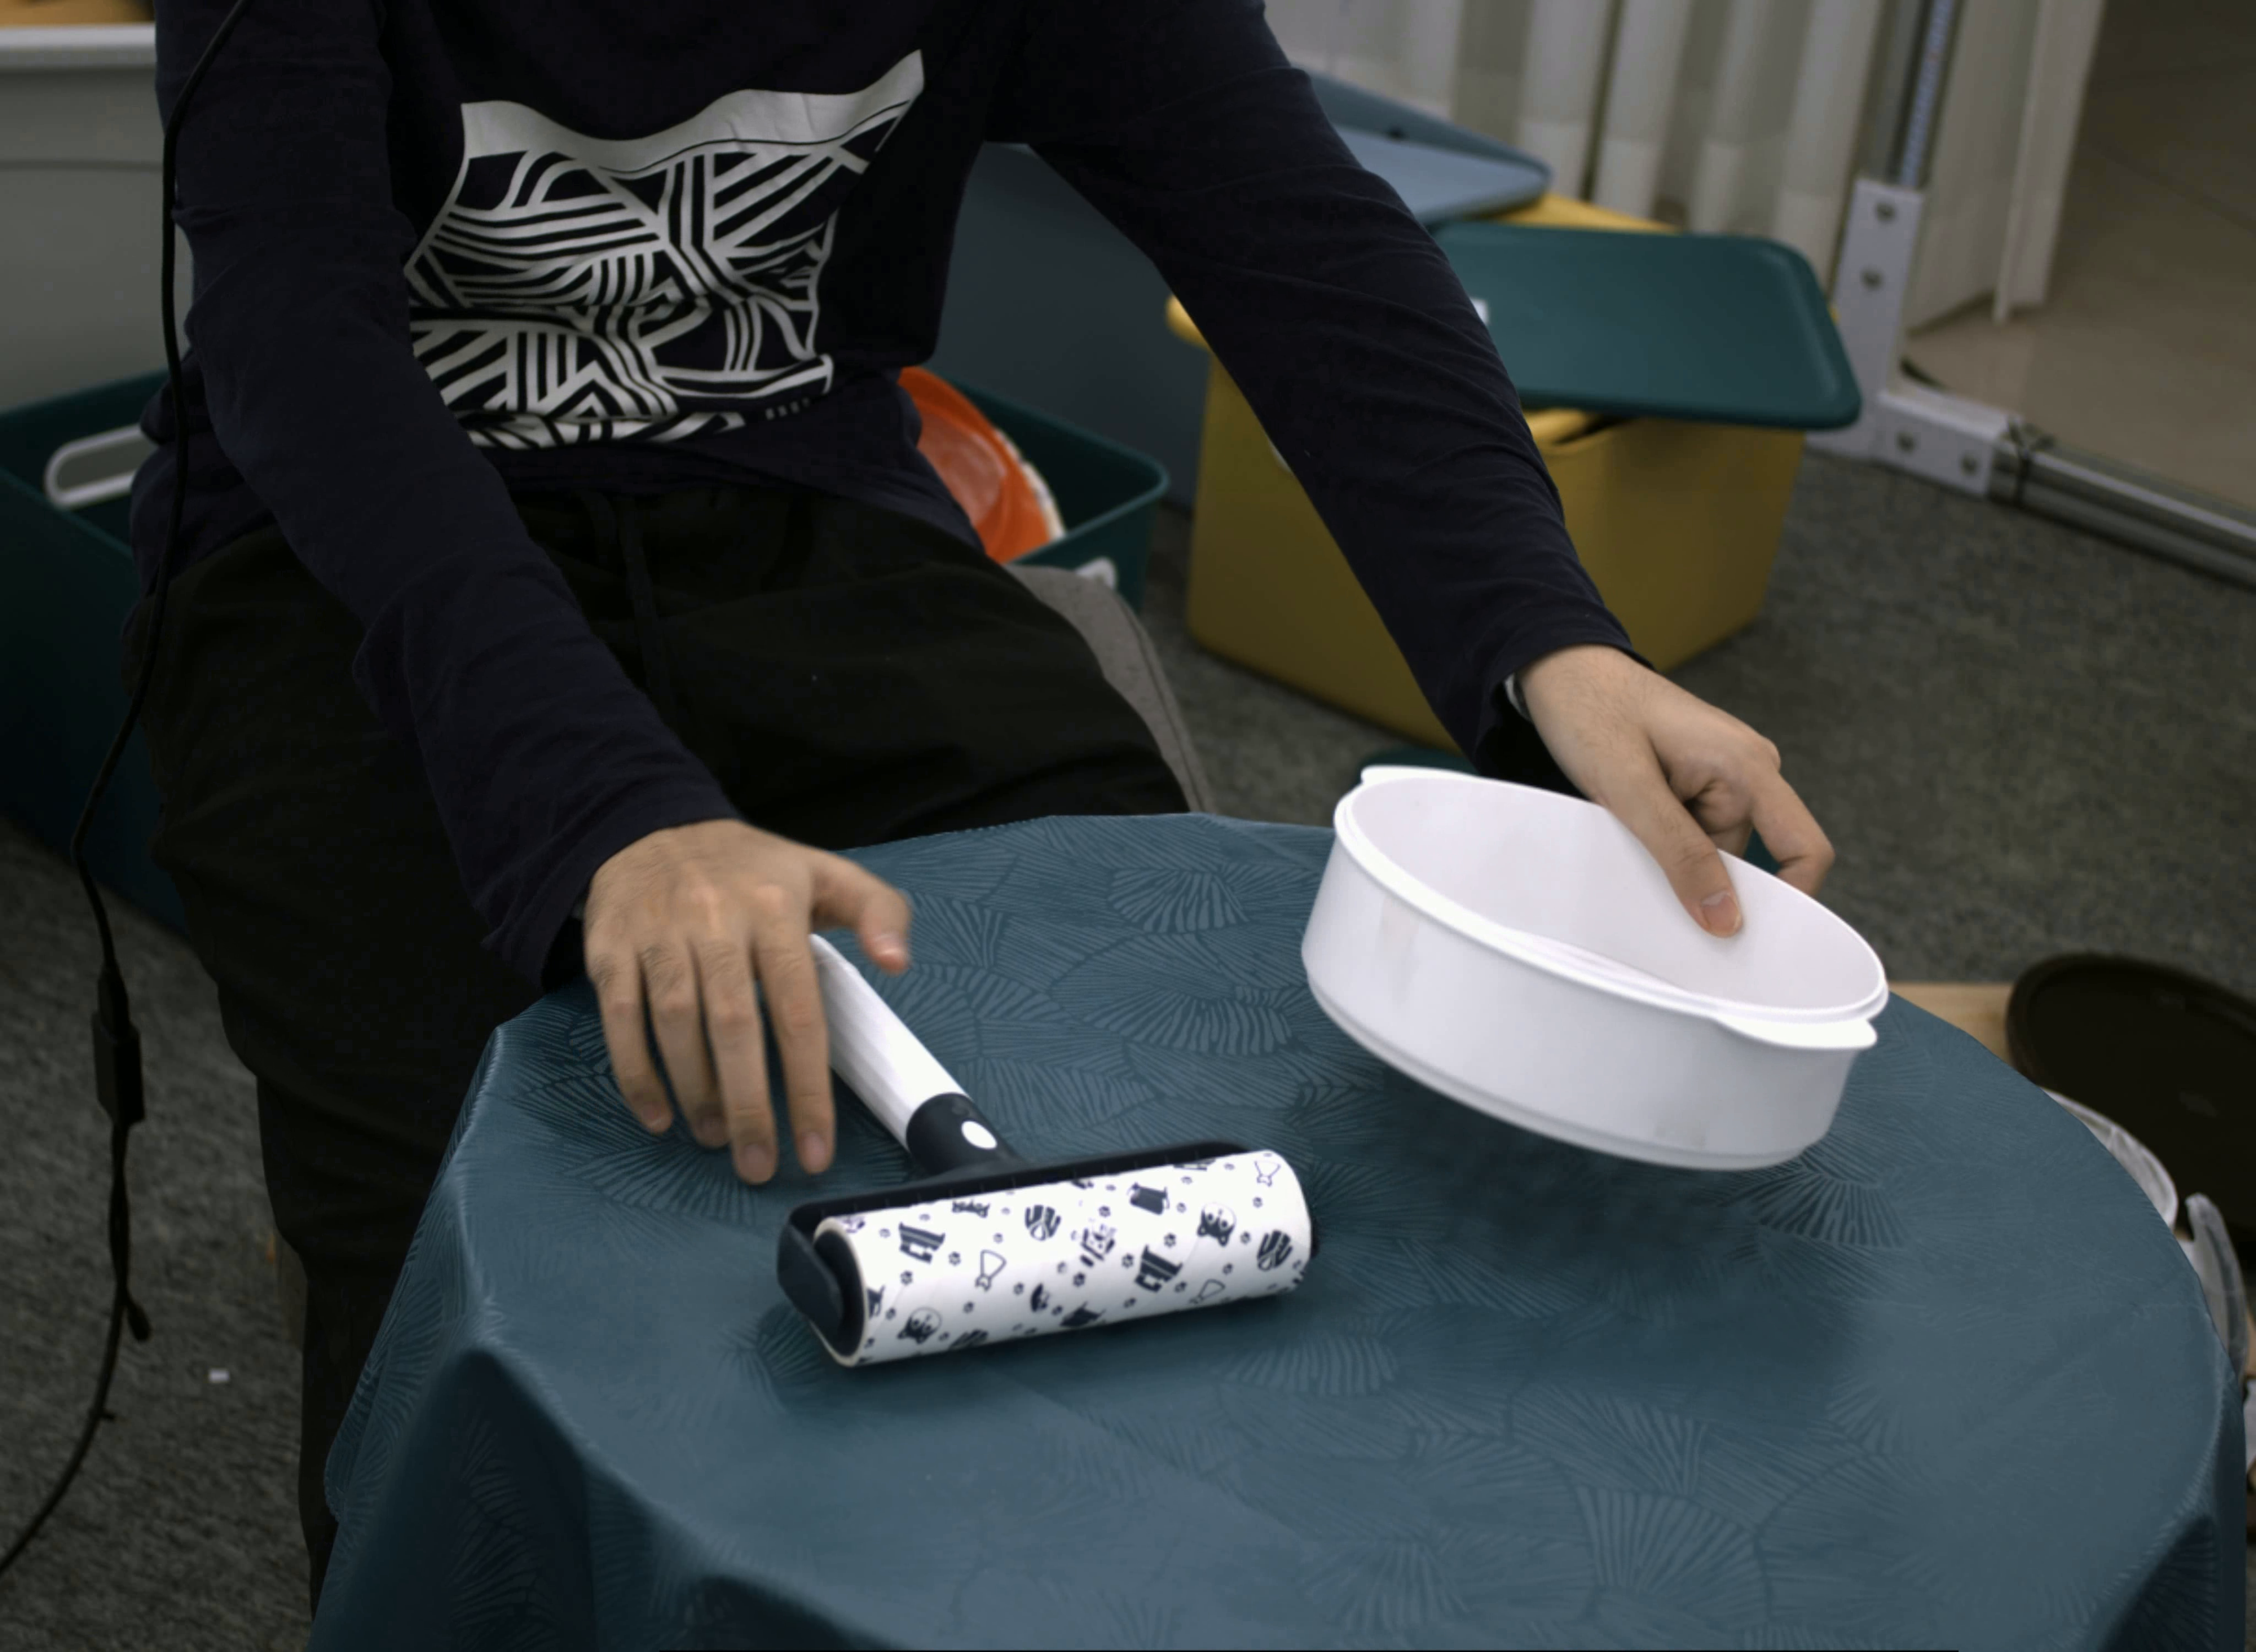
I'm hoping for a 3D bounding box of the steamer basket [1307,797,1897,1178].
[{"bbox_3d":[0.160,0.057,1.837,0.200,0.069,0.232,3,19,-39],"label":"steamer basket"}]

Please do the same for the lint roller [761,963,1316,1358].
[{"bbox_3d":[-0.069,0.097,1.799,0.175,0.050,0.249,-9,27,-26],"label":"lint roller"}]
